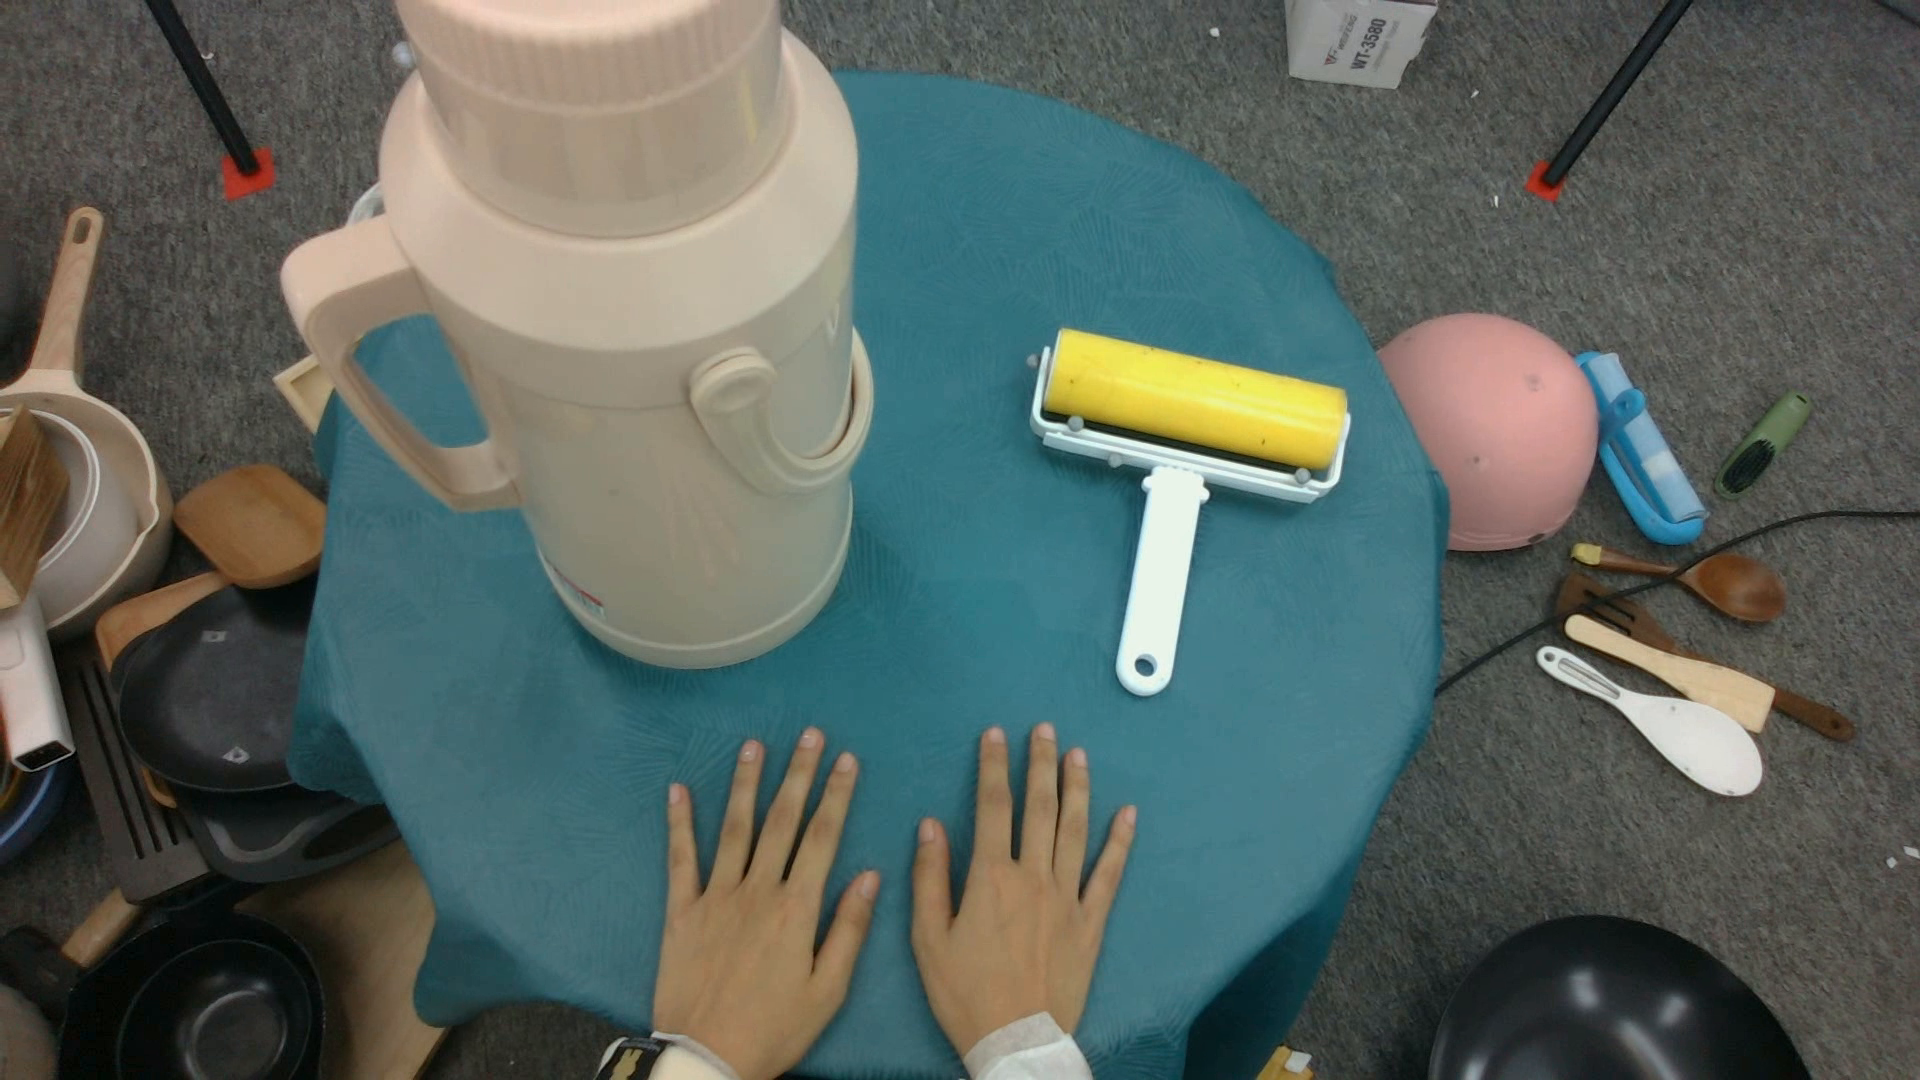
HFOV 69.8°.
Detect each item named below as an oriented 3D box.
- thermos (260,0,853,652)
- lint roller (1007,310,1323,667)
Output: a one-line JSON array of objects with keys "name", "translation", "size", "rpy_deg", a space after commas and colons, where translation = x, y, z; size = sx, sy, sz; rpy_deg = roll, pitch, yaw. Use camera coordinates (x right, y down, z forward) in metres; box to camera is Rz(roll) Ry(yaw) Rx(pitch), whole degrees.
[{"name": "thermos", "translation": [-0.142, -0.092, 0.547], "size": [0.207, 0.404, 0.175], "rpy_deg": [-25, 71, -16]}, {"name": "lint roller", "translation": [0.104, -0.028, 0.735], "size": [0.174, 0.051, 0.193], "rpy_deg": [11, 59, -1]}]
